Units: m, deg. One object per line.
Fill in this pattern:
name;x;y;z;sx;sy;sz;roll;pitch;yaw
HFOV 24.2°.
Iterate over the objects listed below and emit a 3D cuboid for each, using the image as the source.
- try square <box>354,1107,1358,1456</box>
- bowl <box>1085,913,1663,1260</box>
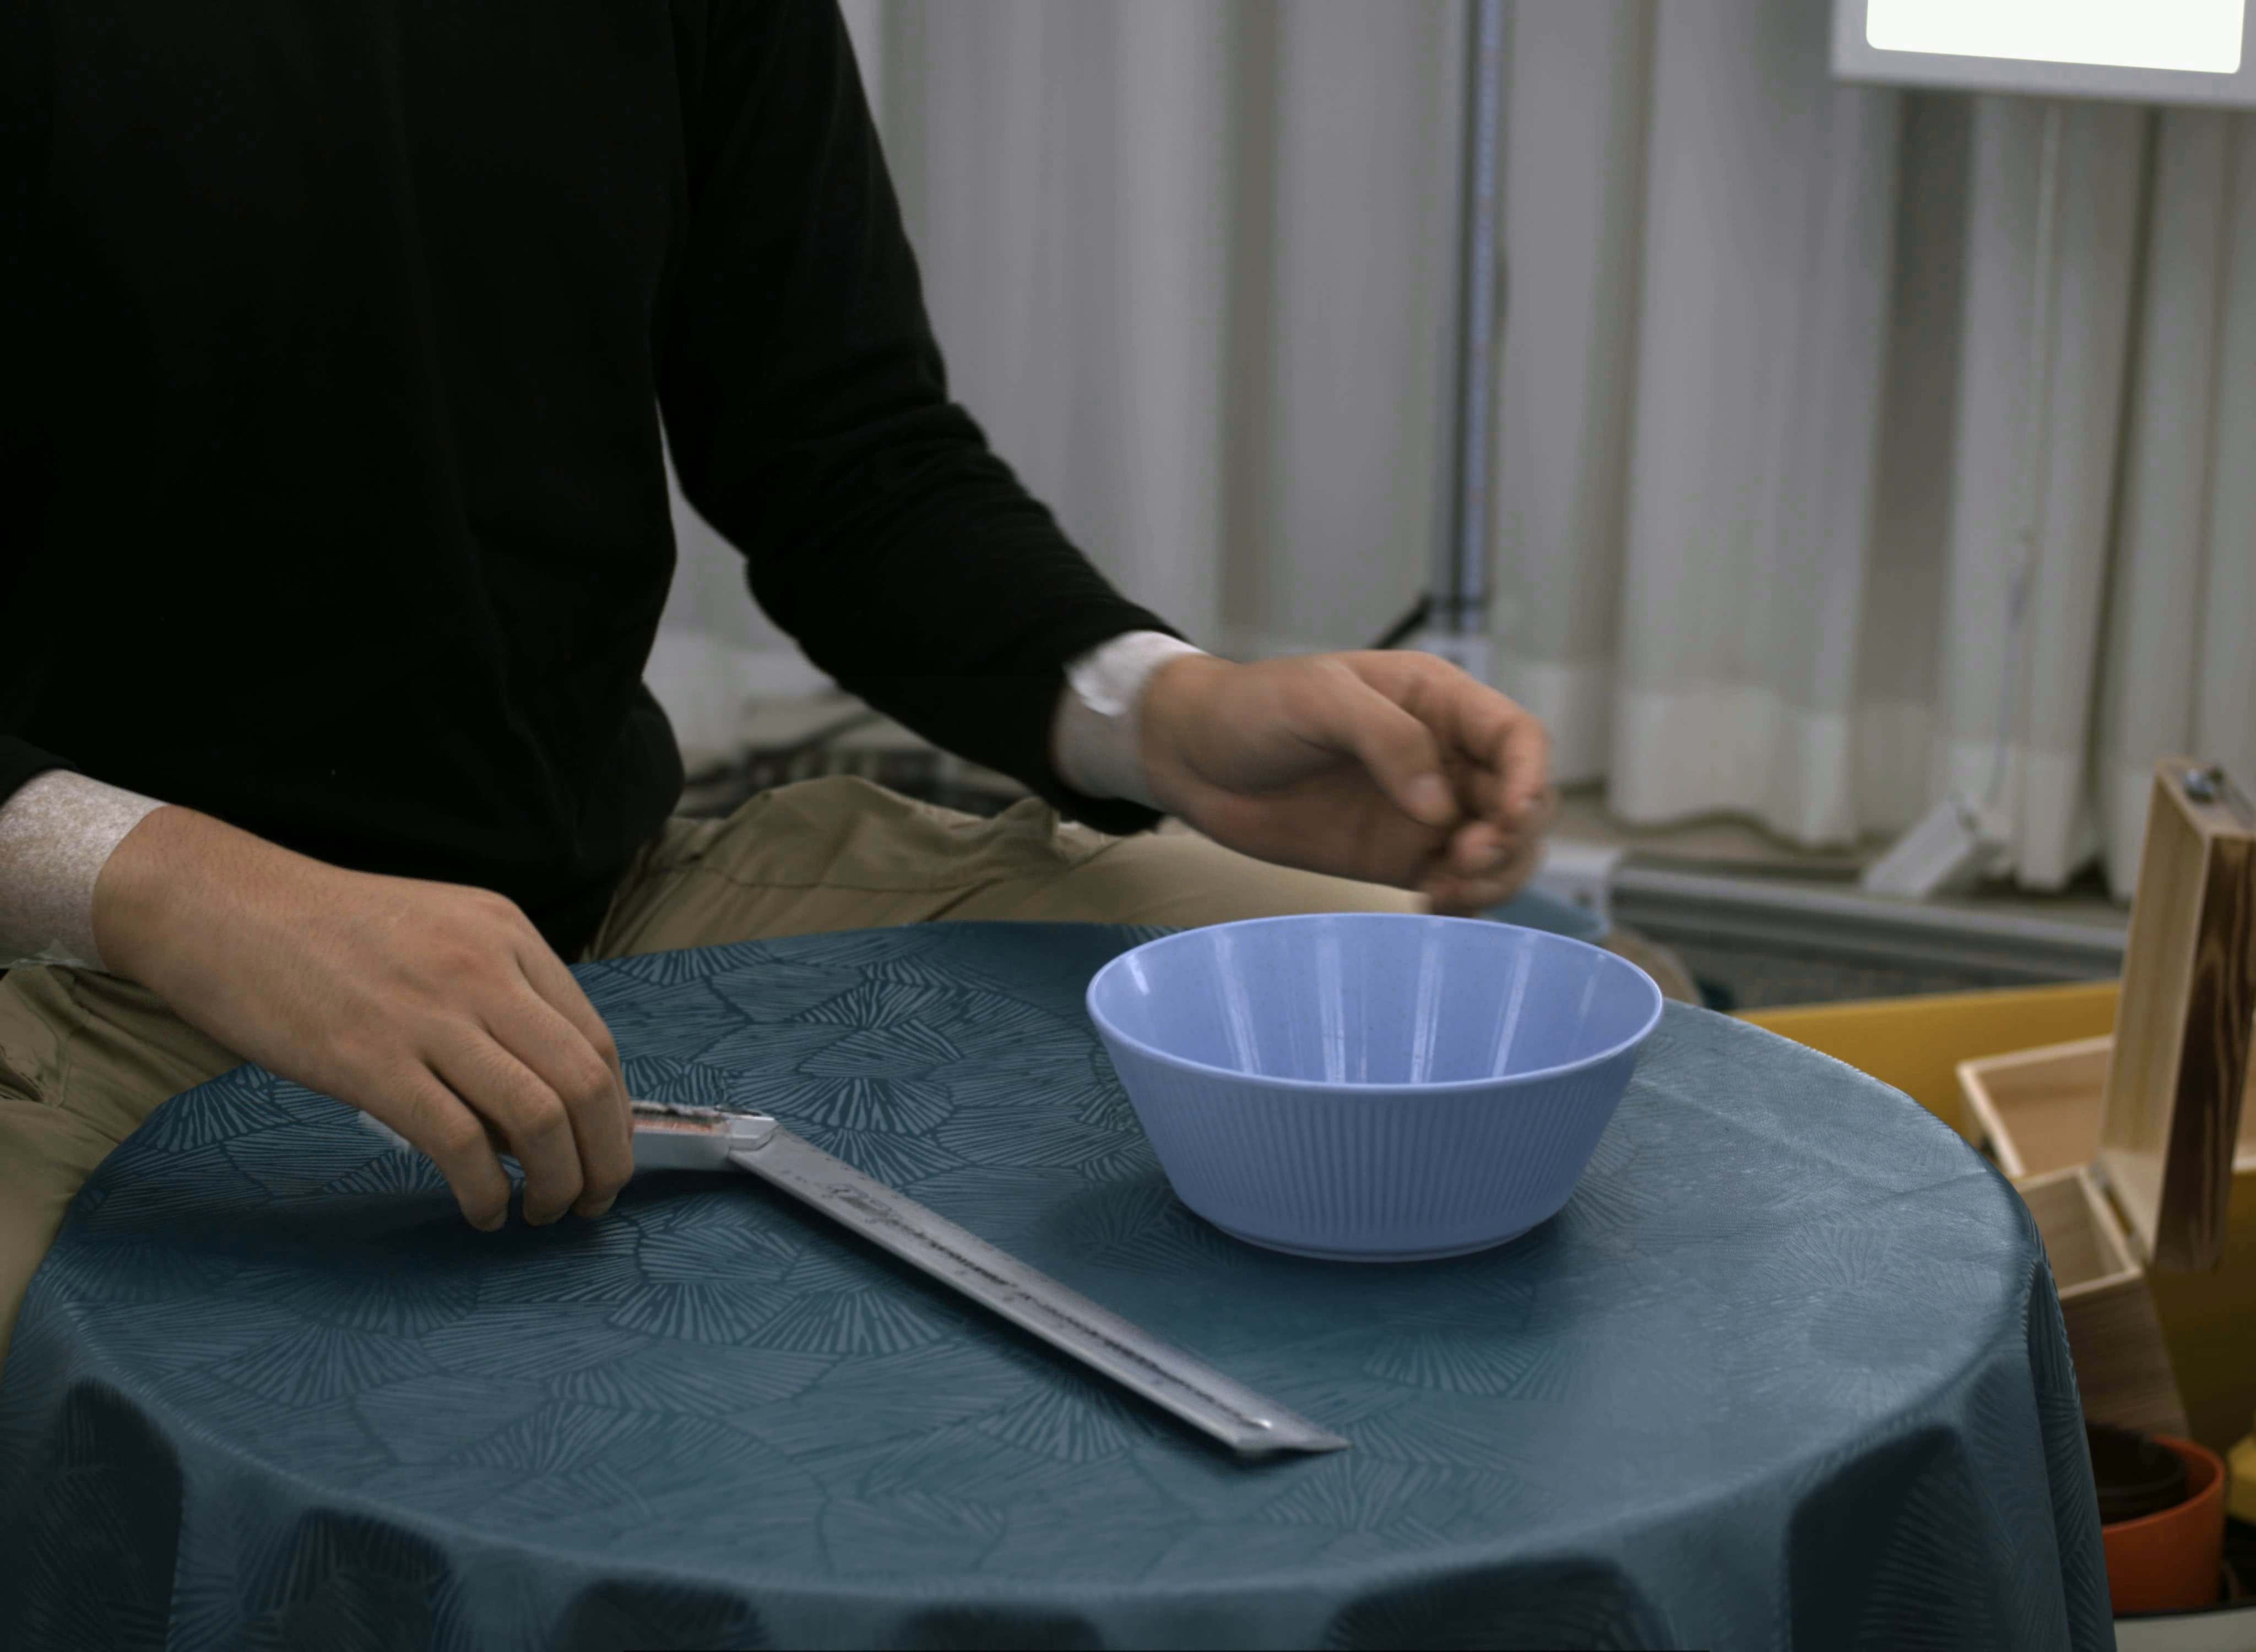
try square;-0.085;0.129;1.501;0.153;0.016;0.309;1;13;-36
bowl;0.074;0.082;1.603;0.175;0.071;0.175;1;16;0
